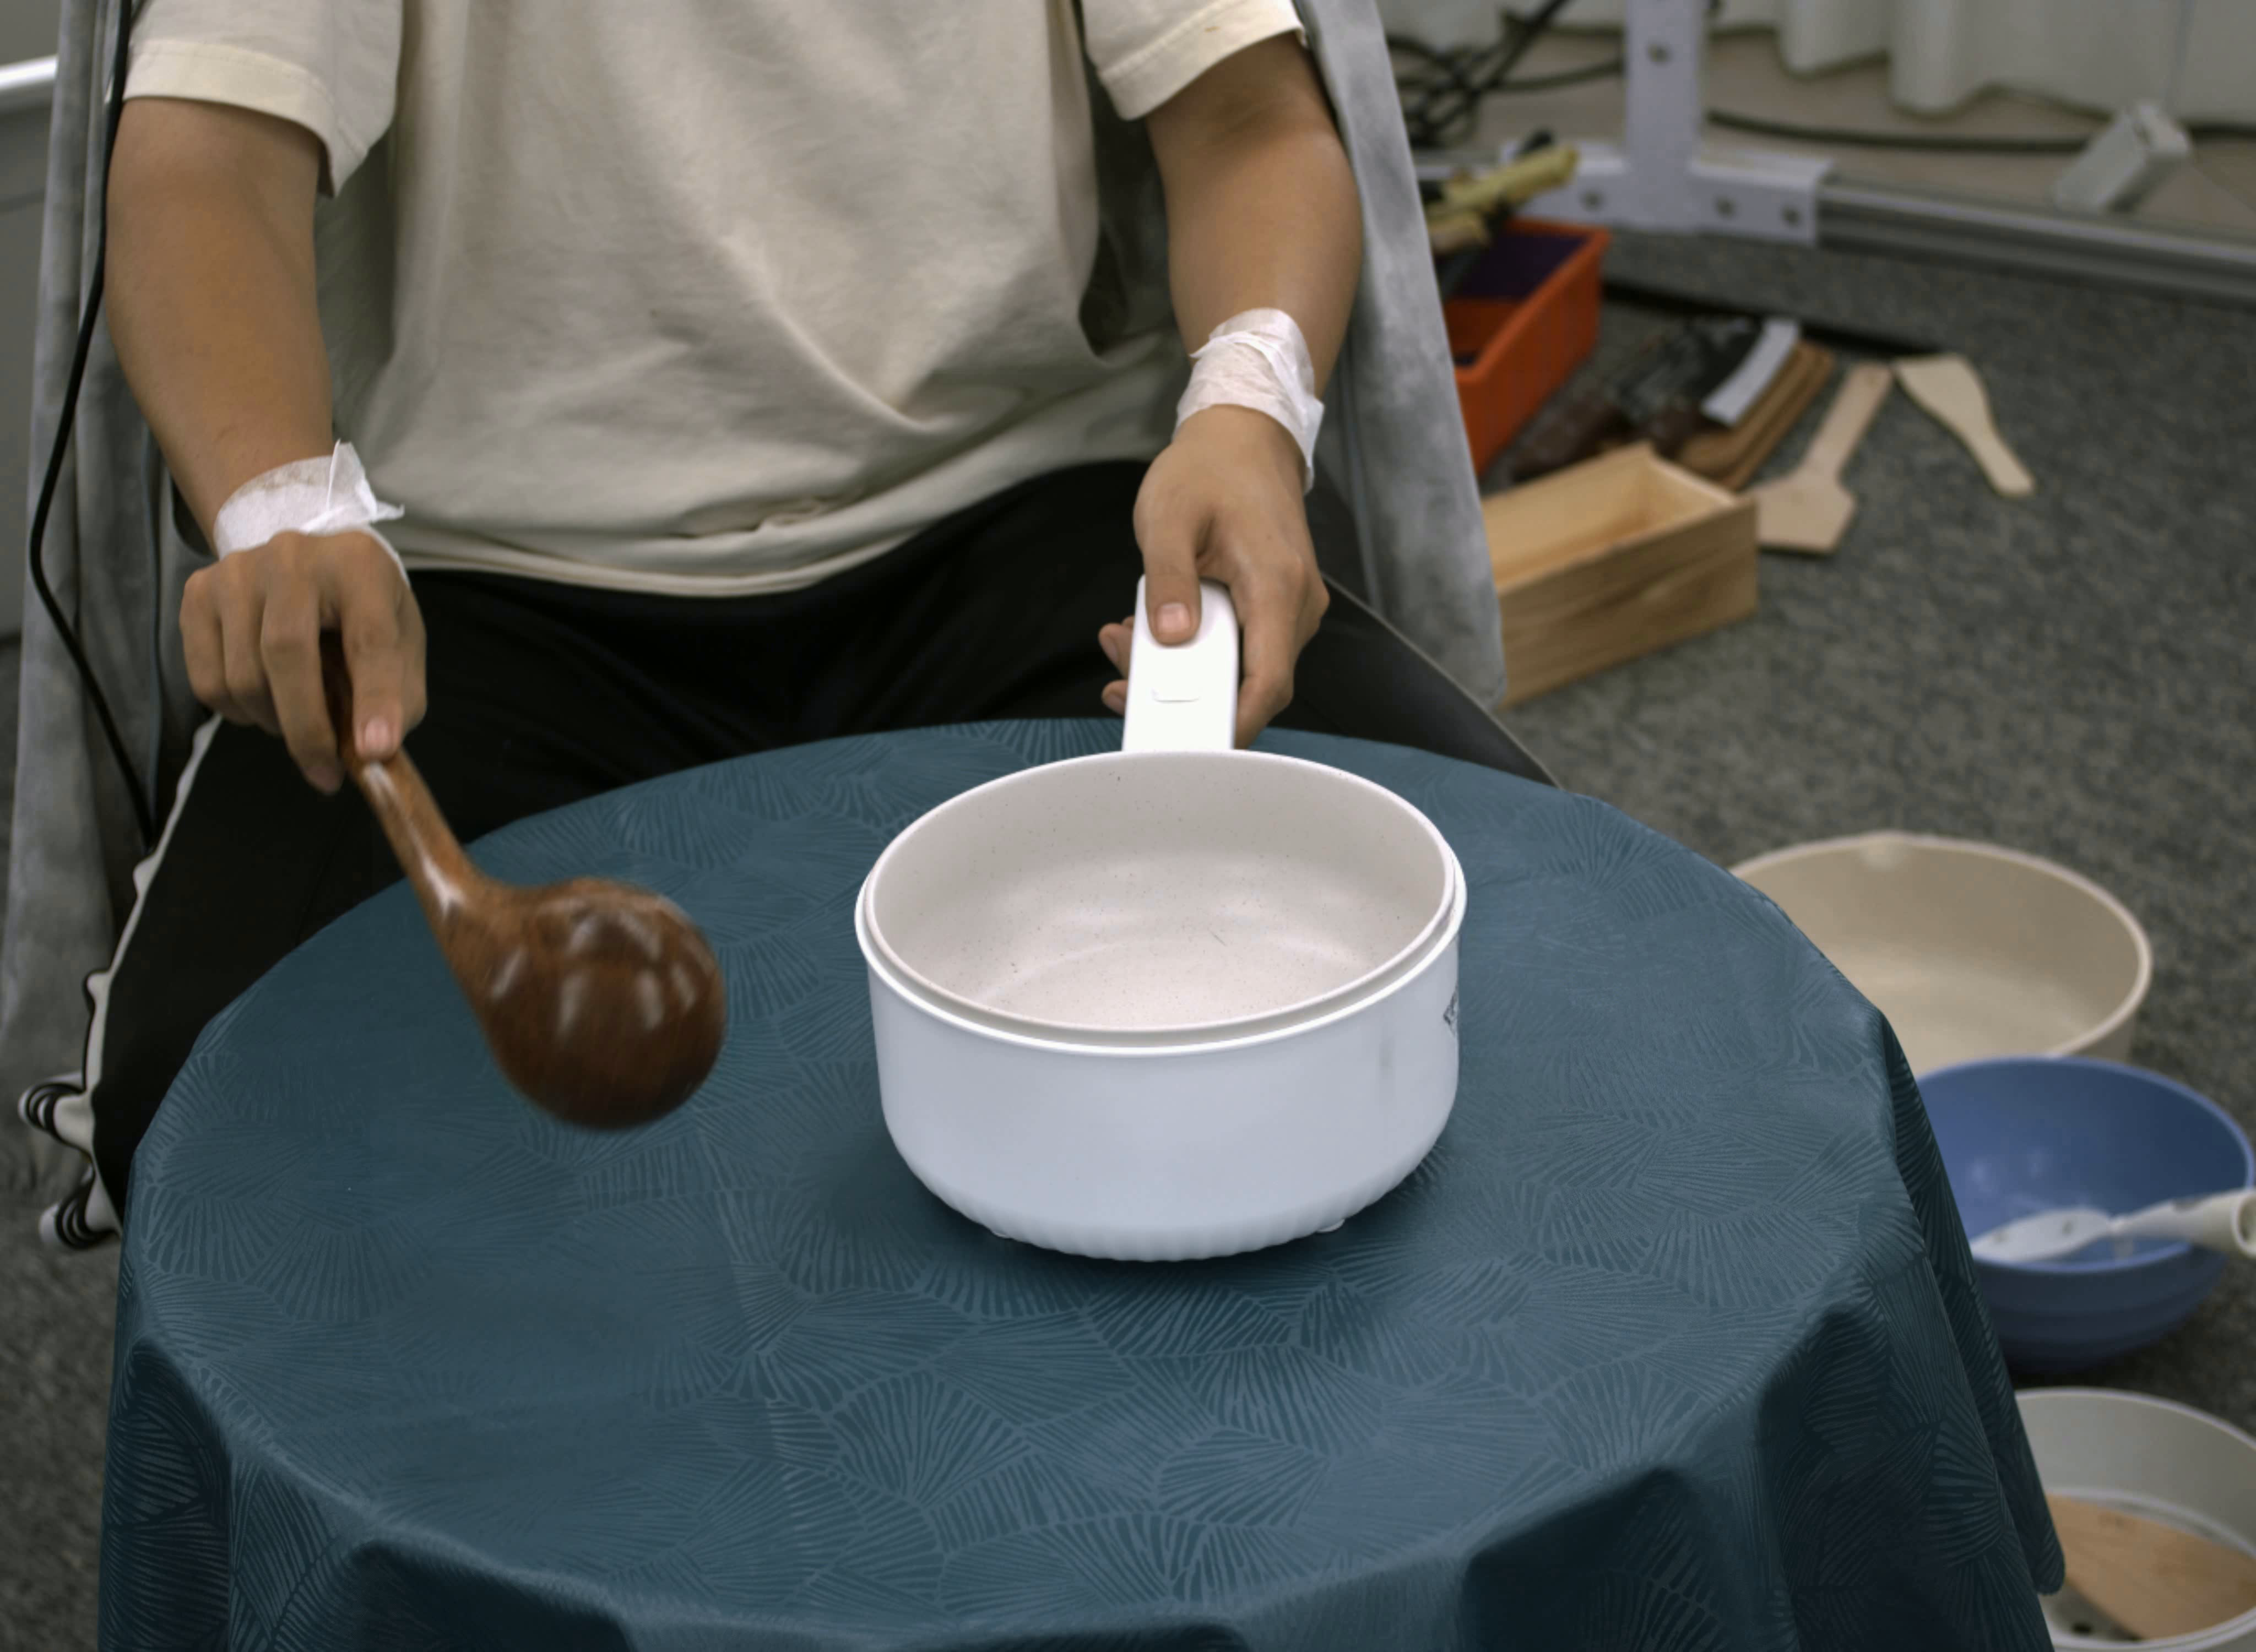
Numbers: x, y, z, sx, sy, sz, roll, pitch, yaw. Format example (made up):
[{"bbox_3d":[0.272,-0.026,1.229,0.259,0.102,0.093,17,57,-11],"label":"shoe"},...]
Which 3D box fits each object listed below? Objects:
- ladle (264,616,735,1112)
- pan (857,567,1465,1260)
[{"bbox_3d":[-0.206,0.002,1.832,0.076,0.081,0.276,20,16,-33],"label":"ladle"},{"bbox_3d":[0.018,0.027,1.935,0.200,0.101,0.360,-1,26,4],"label":"pan"}]
